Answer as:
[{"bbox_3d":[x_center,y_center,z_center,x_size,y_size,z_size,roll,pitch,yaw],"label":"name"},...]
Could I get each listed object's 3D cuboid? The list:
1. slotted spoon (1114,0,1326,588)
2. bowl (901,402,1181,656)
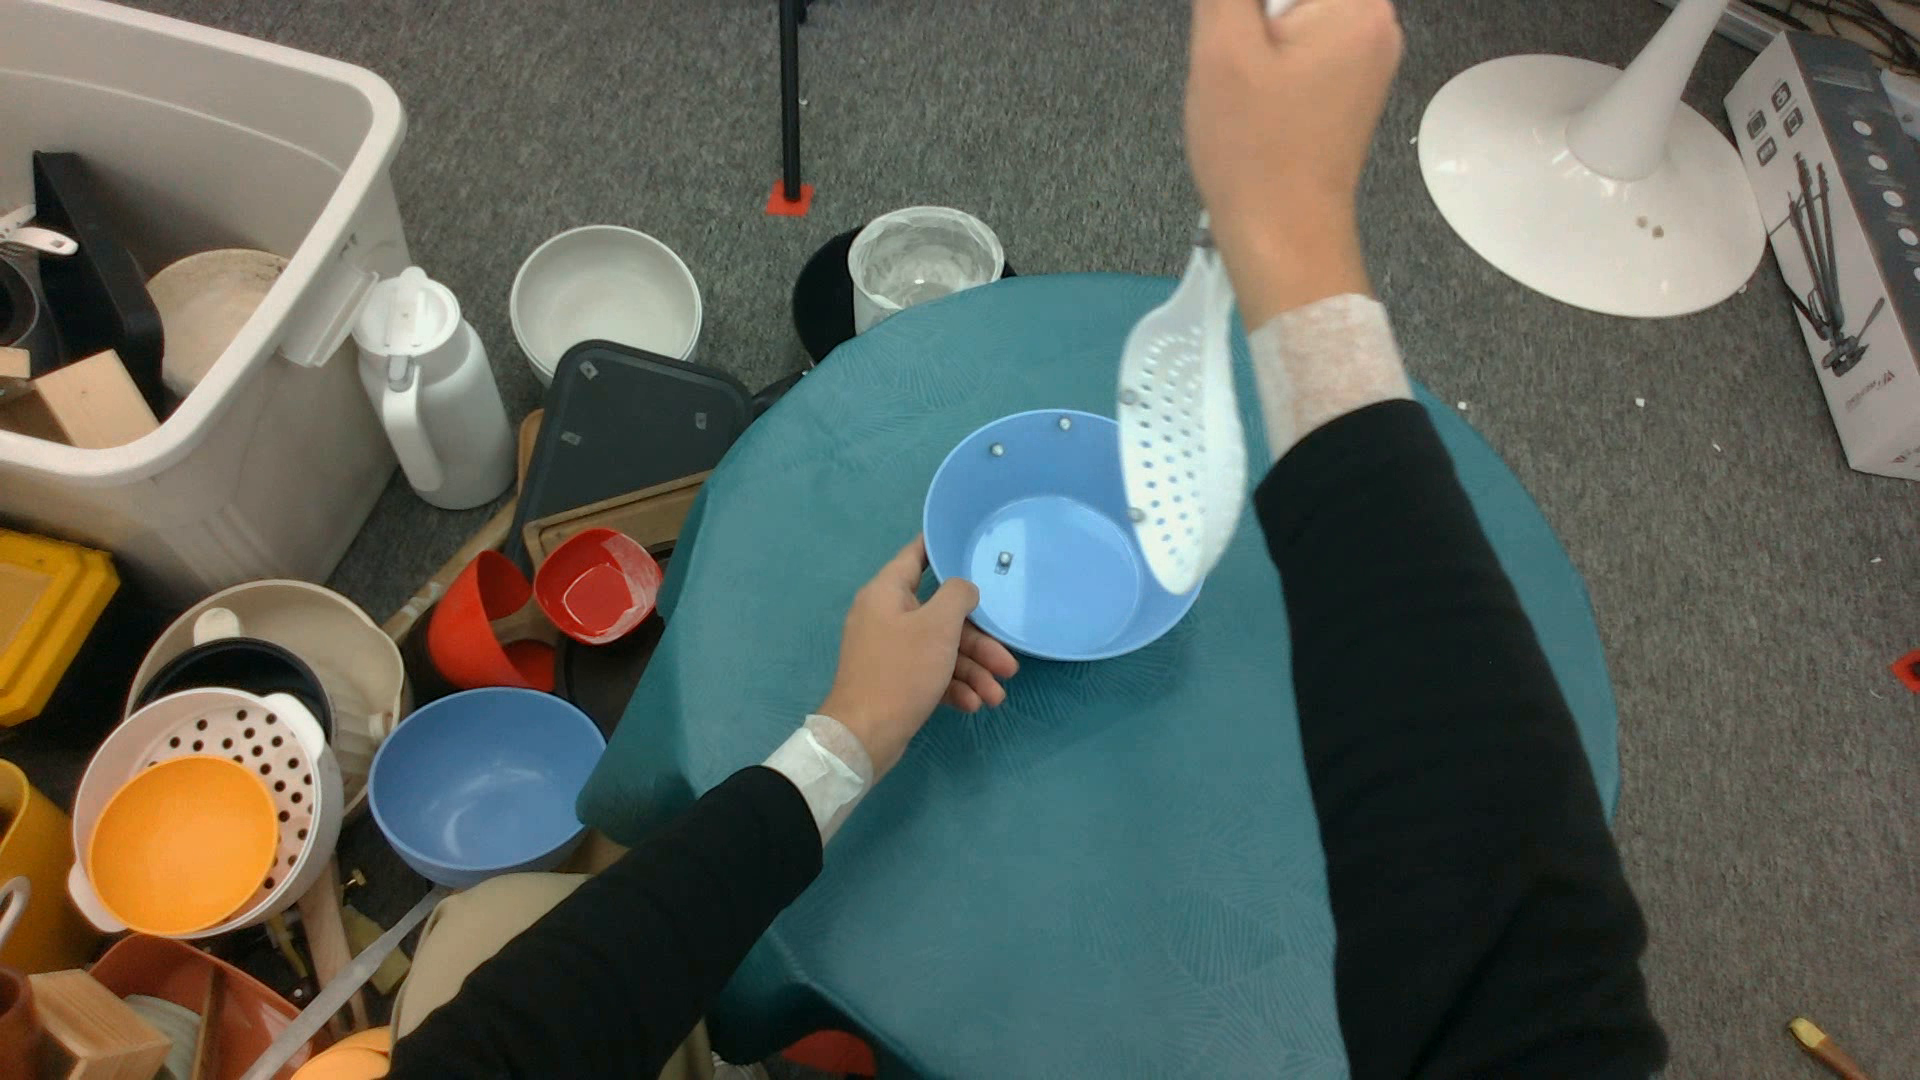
[{"bbox_3d":[0.111,-0.111,0.606,0.046,0.348,0.136,-8,53,-5],"label":"slotted spoon"},{"bbox_3d":[0.048,0.004,0.860,0.176,0.070,0.177,3,61,-6],"label":"bowl"}]
